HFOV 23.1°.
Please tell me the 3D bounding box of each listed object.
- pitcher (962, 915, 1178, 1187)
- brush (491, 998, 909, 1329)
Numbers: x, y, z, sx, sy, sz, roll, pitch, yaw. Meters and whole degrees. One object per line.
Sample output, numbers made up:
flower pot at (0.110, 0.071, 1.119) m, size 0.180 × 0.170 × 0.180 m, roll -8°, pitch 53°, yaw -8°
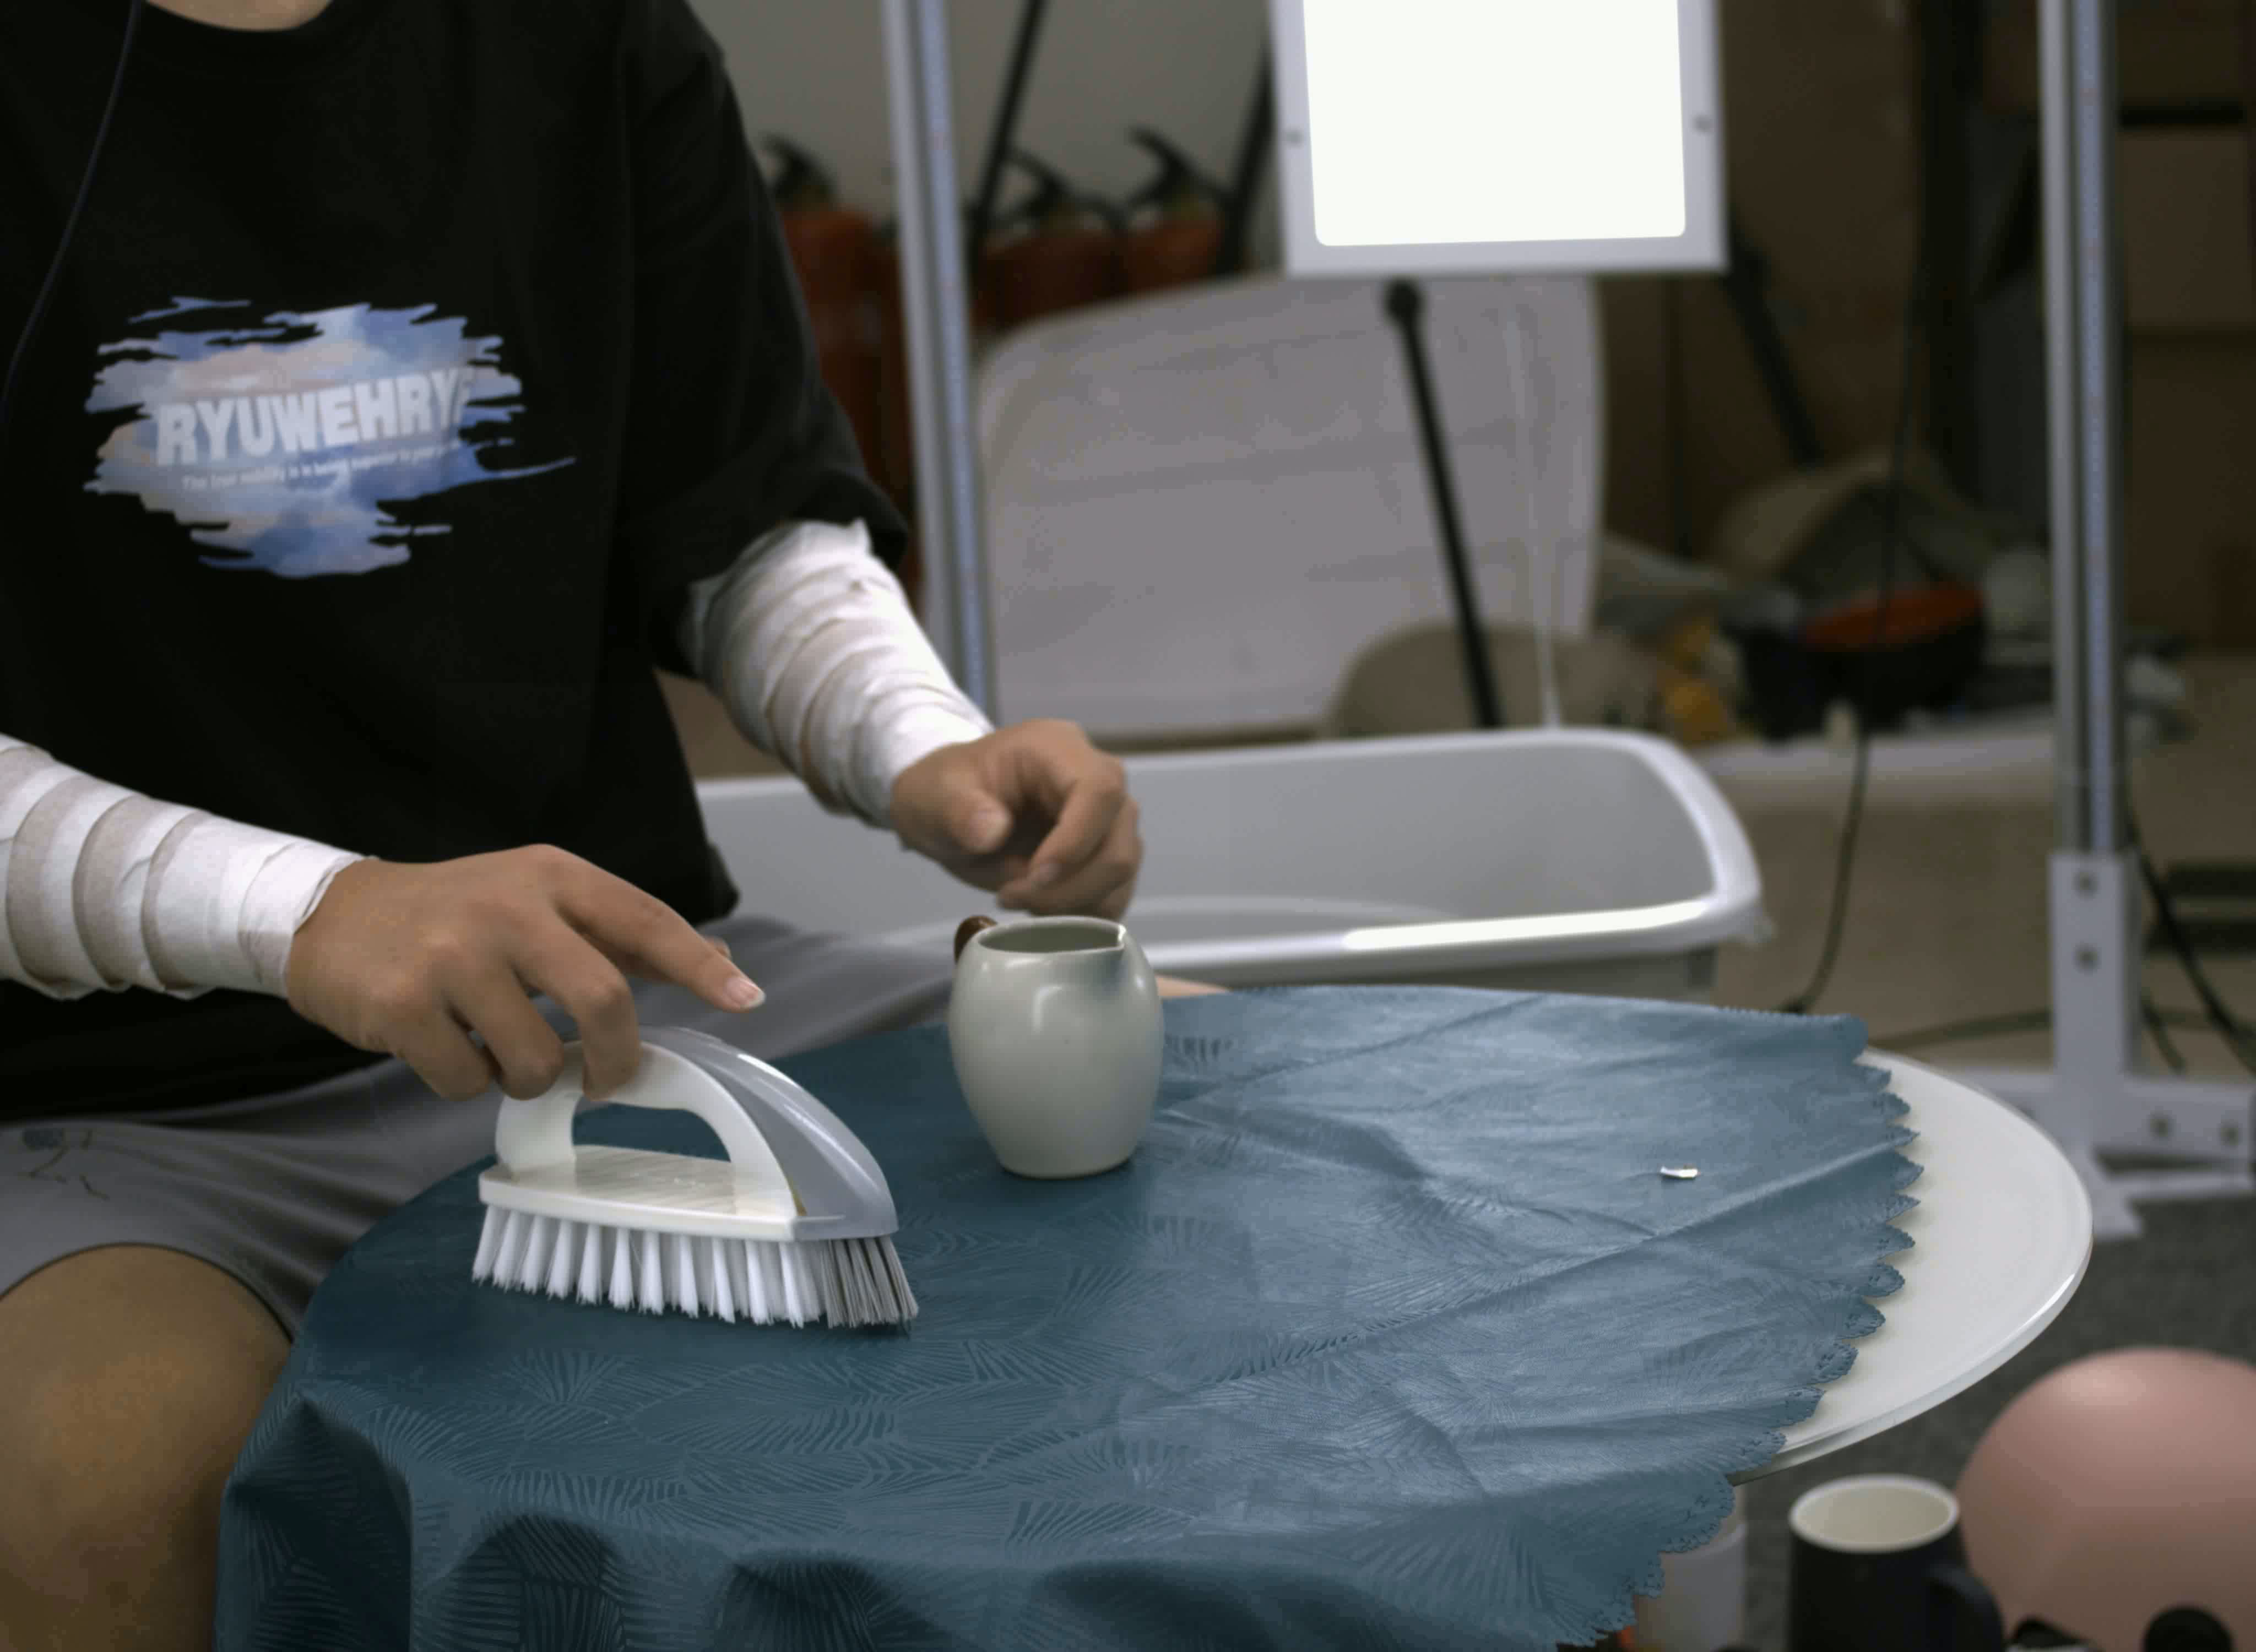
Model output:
pitcher at (-0.024, 0.076, 1.930) m, size 0.074 × 0.088 × 0.121 m, roll -7°, pitch 14°, yaw -25°
brush at (-0.139, 0.108, 1.822) m, size 0.179 × 0.094 × 0.060 m, roll 13°, pitch 23°, yaw 41°
